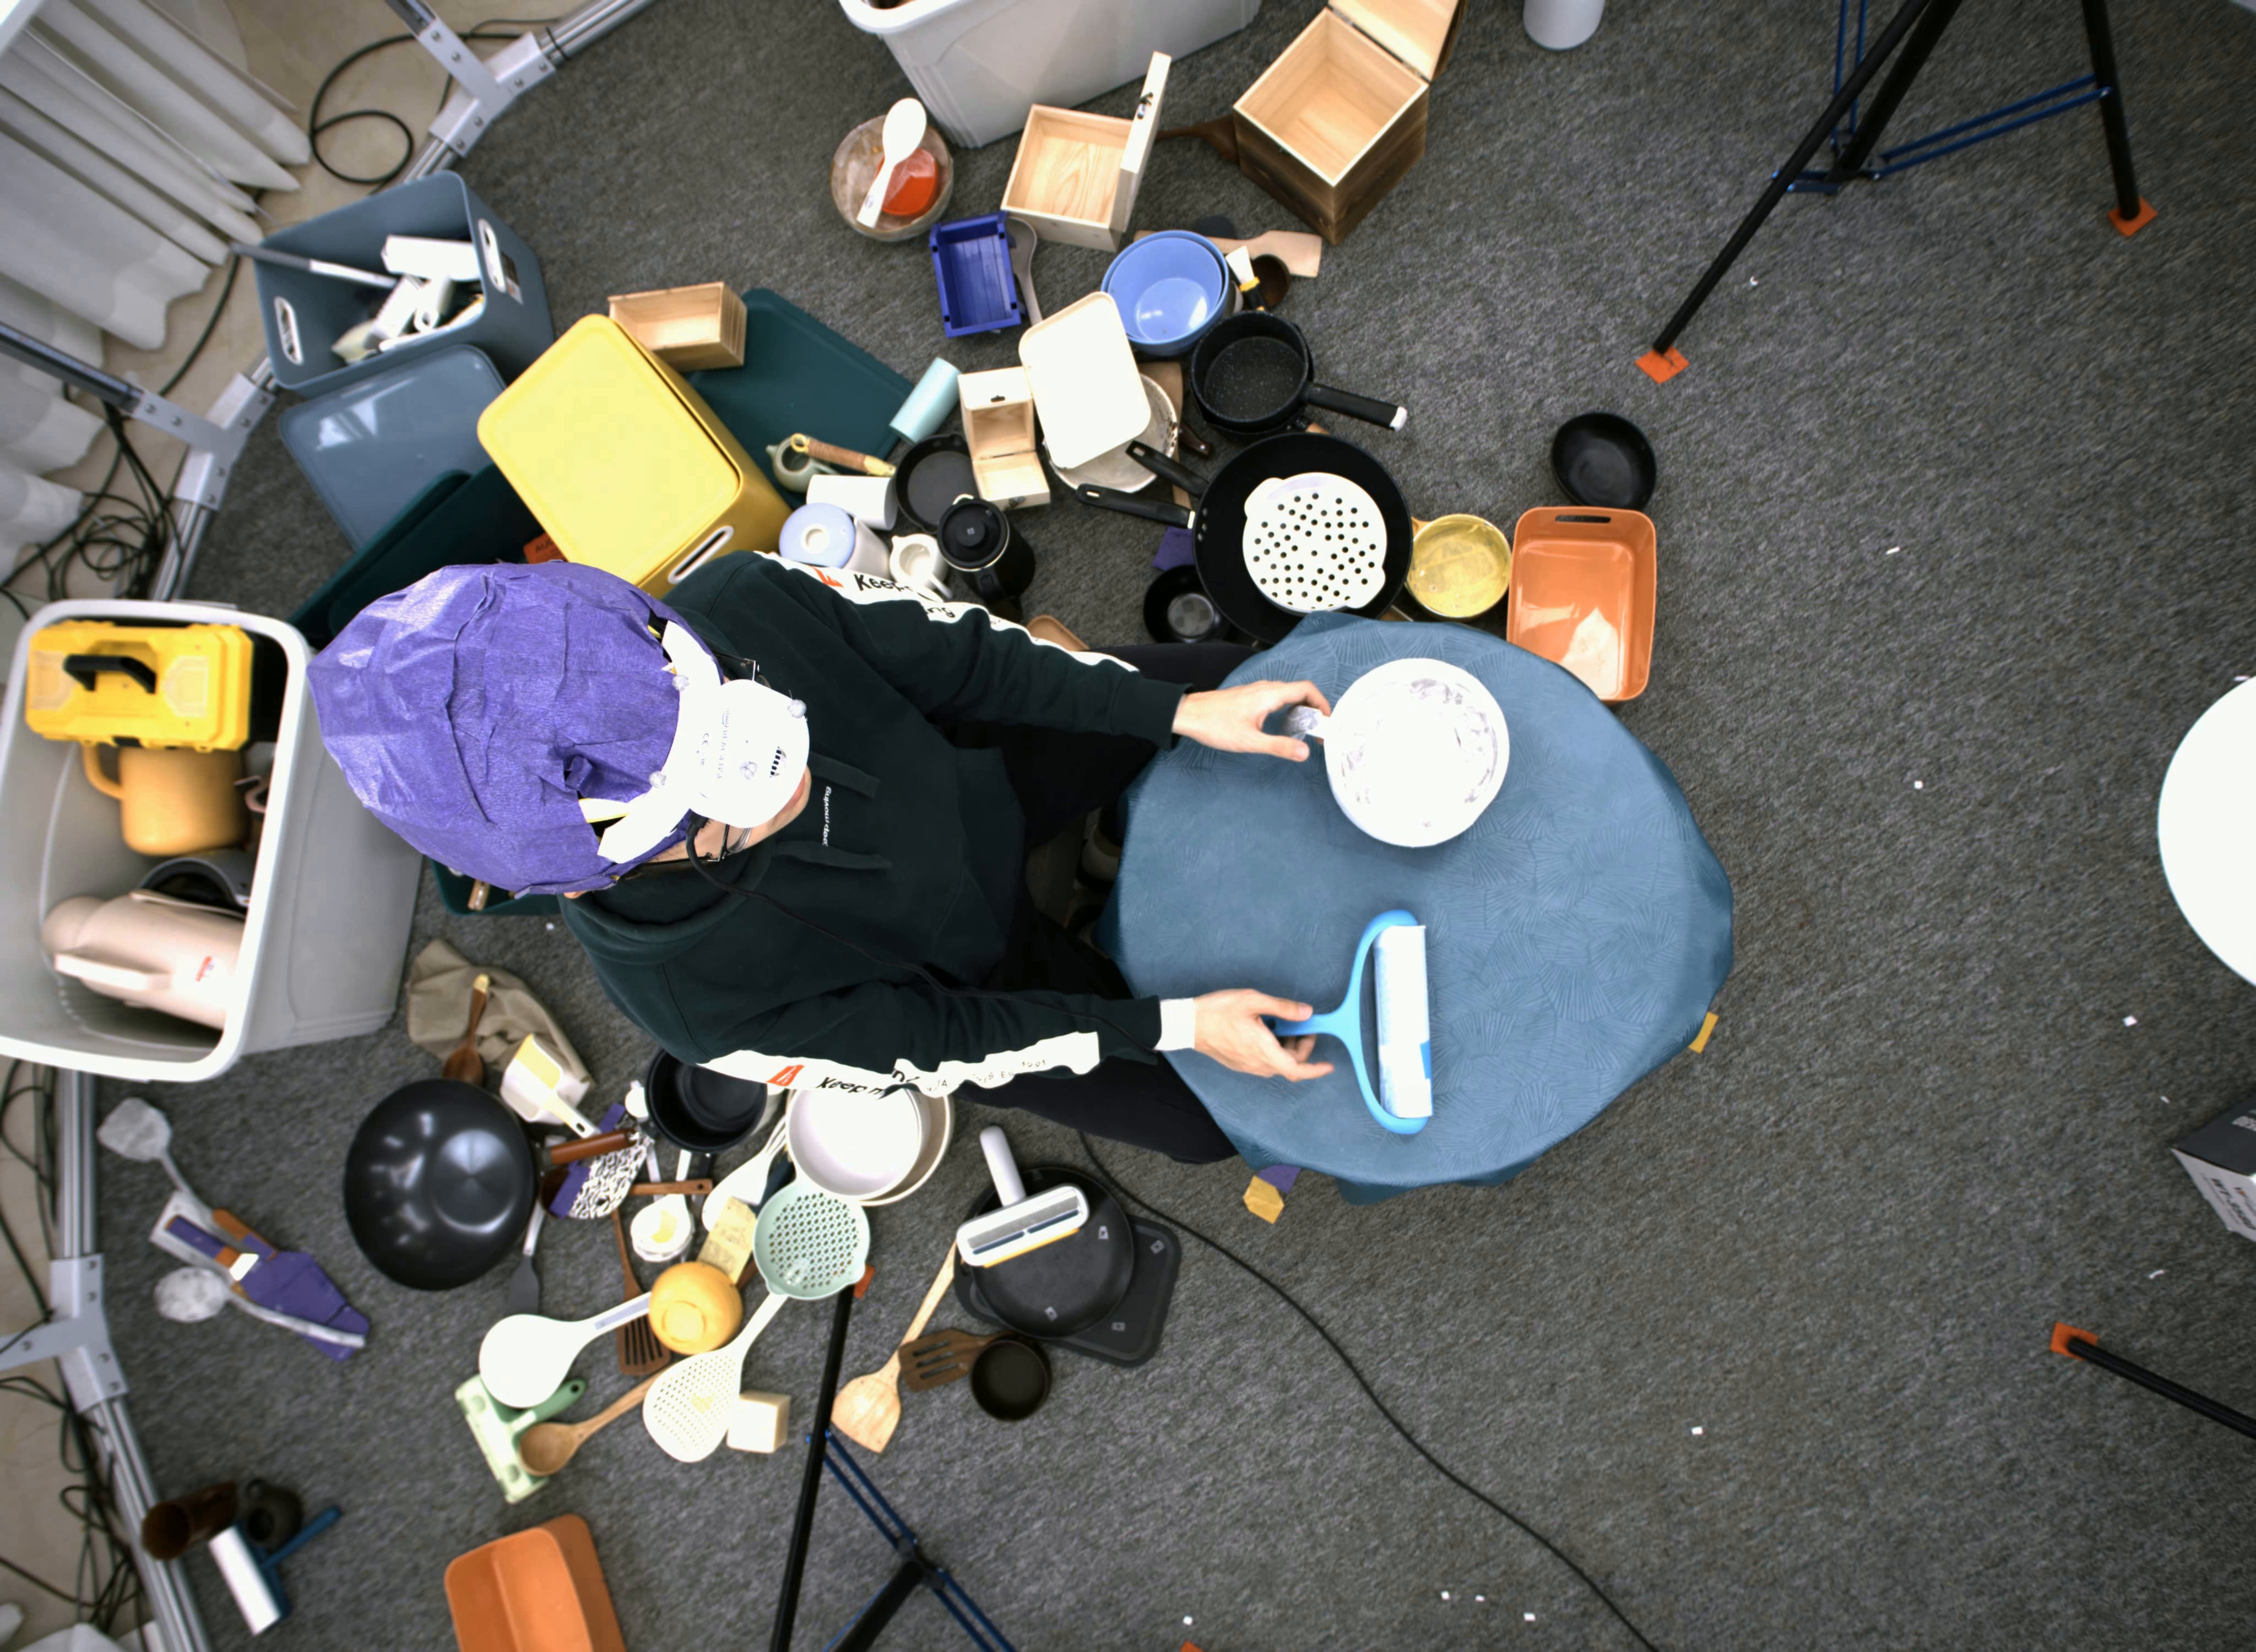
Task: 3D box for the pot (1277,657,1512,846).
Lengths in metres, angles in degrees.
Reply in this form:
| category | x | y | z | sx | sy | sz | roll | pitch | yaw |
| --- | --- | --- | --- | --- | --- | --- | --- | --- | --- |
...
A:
| category | x | y | z | sx | sy | sz | roll | pitch | yaw |
| --- | --- | --- | --- | --- | --- | --- | --- | --- | --- |
| pot | 0.263 | -0.079 | 1.392 | 0.234 | 0.137 | 0.178 | 16 | 89 | 9 |

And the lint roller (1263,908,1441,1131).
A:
| category | x | y | z | sx | sy | sz | roll | pitch | yaw |
| --- | --- | --- | --- | --- | --- | --- | --- | --- | --- |
| lint roller | 0.228 | 0.204 | 1.428 | 0.181 | 0.068 | 0.228 | -7 | 88 | 9 |
